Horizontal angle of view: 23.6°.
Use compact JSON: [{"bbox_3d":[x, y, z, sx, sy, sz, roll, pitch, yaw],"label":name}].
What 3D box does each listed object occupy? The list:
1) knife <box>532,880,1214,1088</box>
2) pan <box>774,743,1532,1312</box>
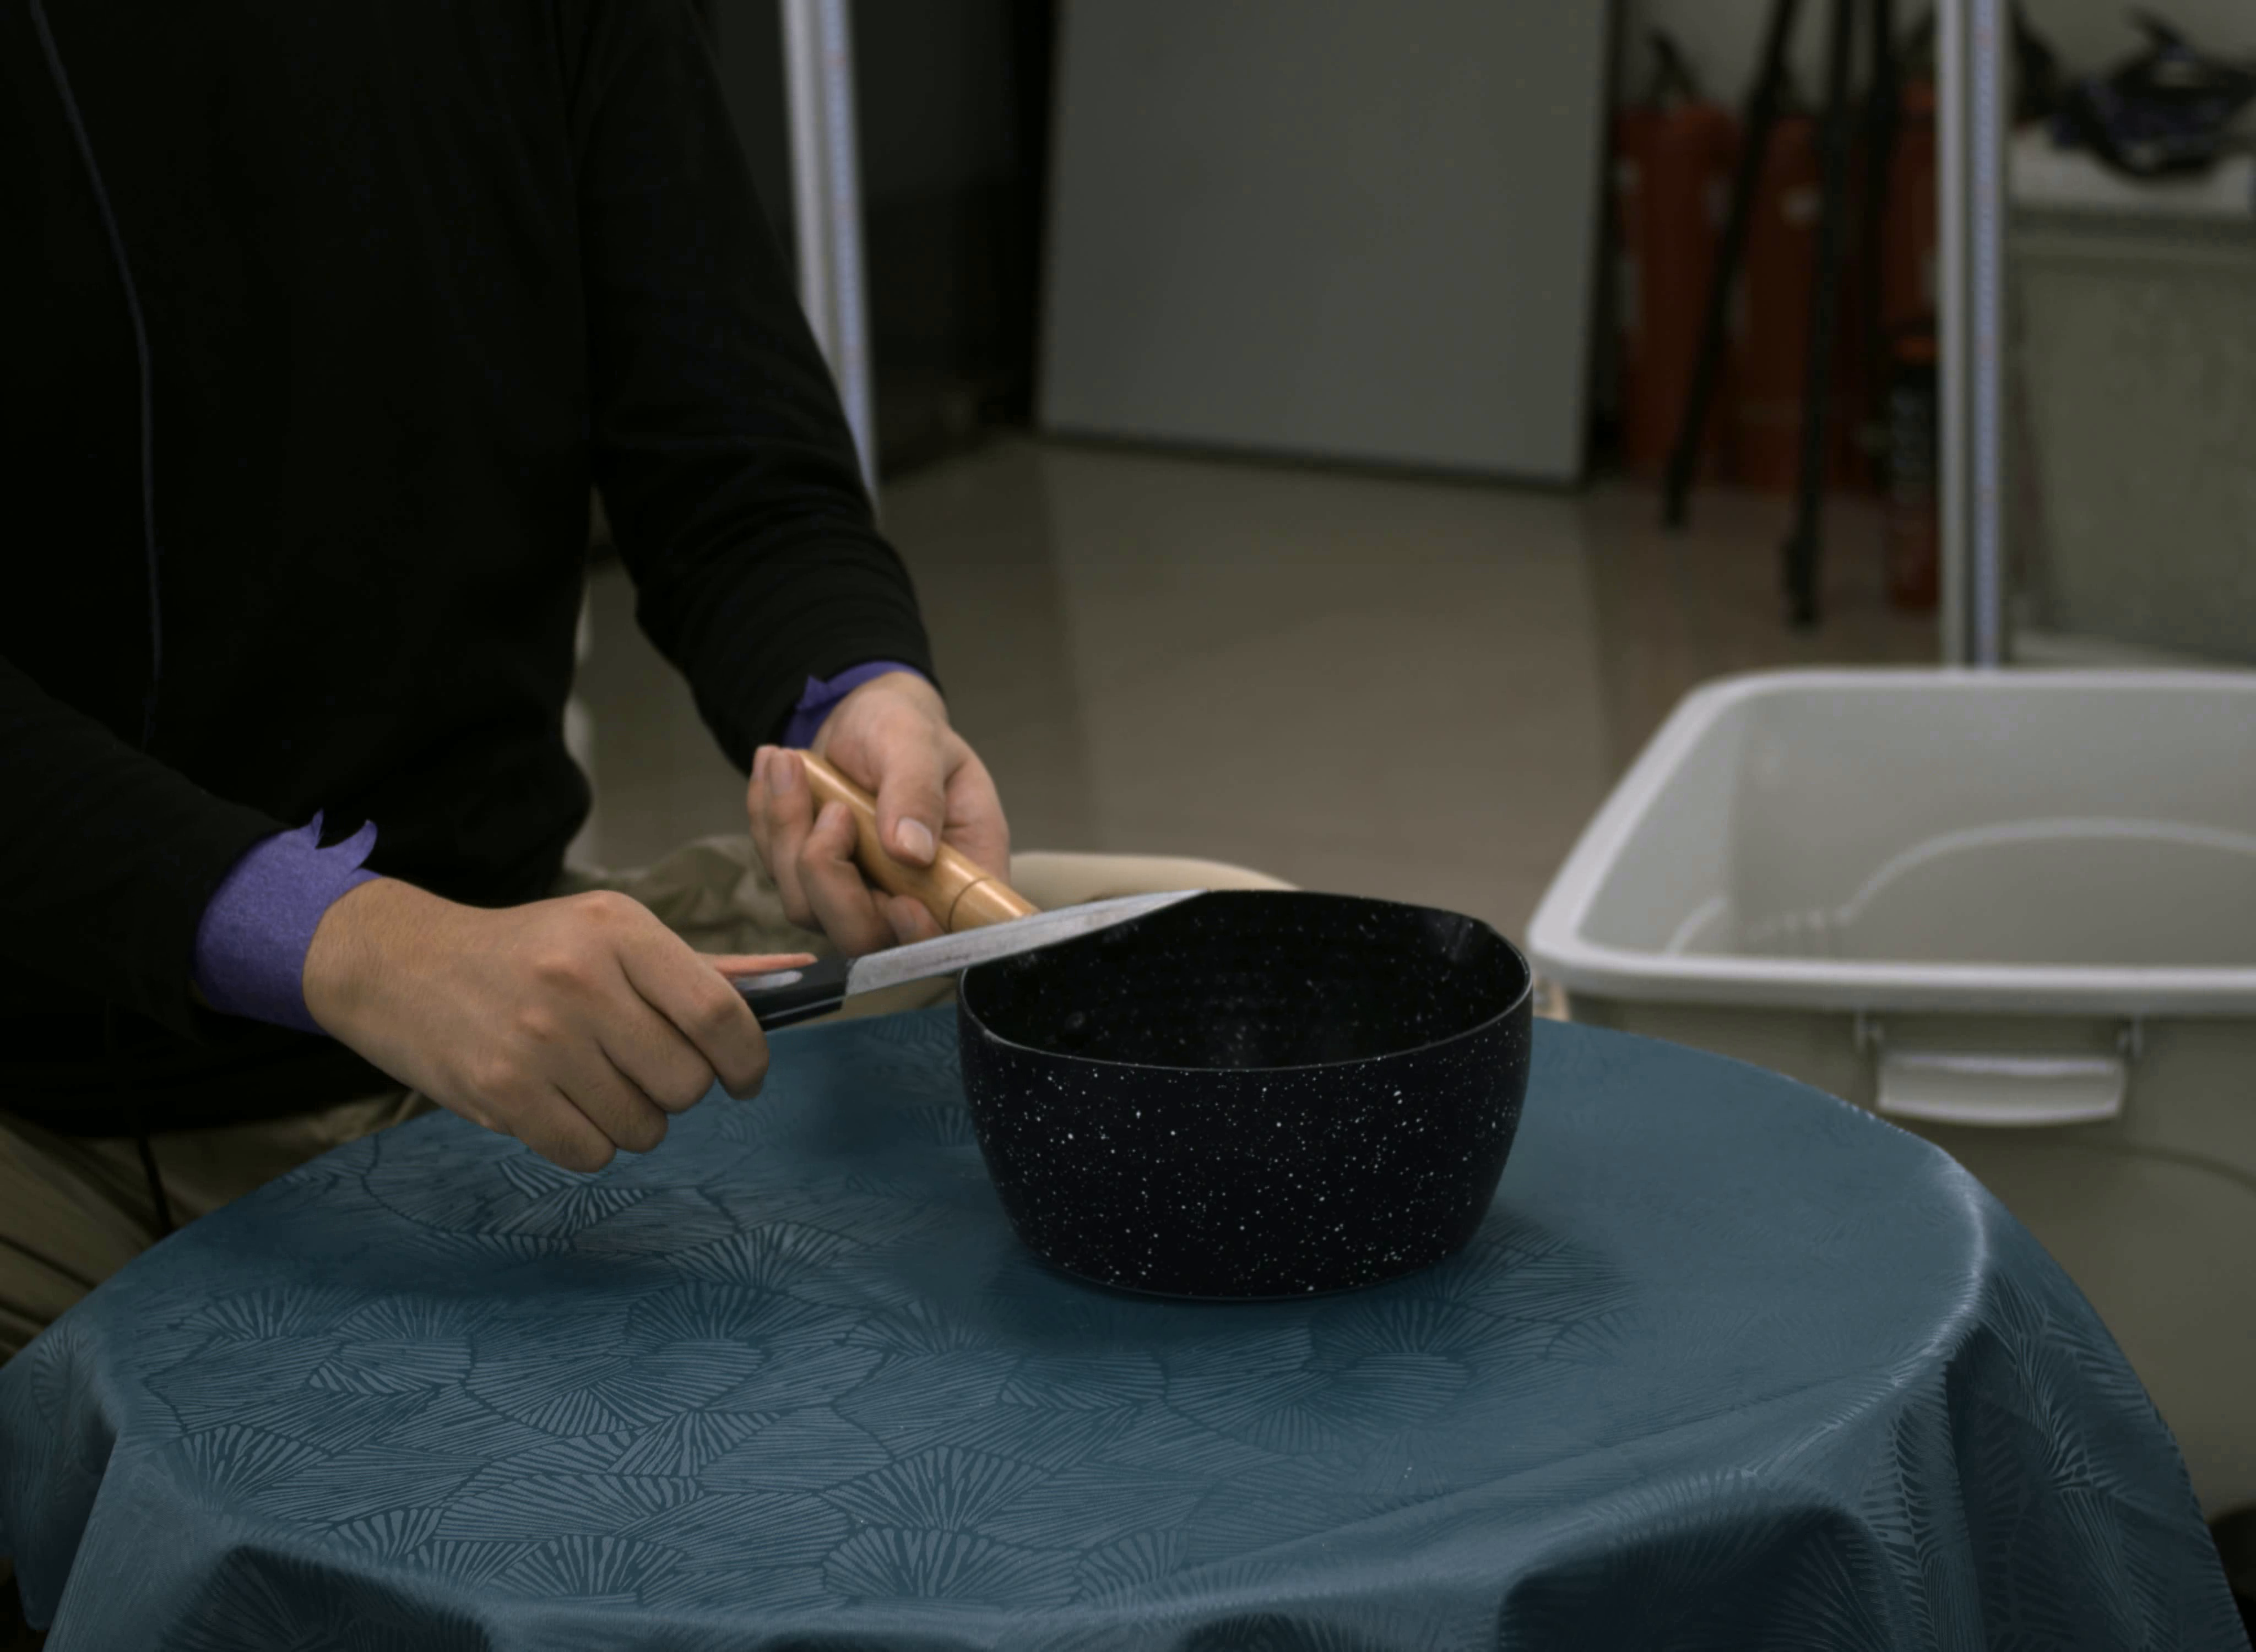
[{"bbox_3d":[-0.083,0.049,1.708,0.237,0.016,0.024,-15,29,18],"label":"knife"},{"bbox_3d":[-0.013,0.060,1.771,0.203,0.109,0.346,-14,21,-36],"label":"pan"}]
